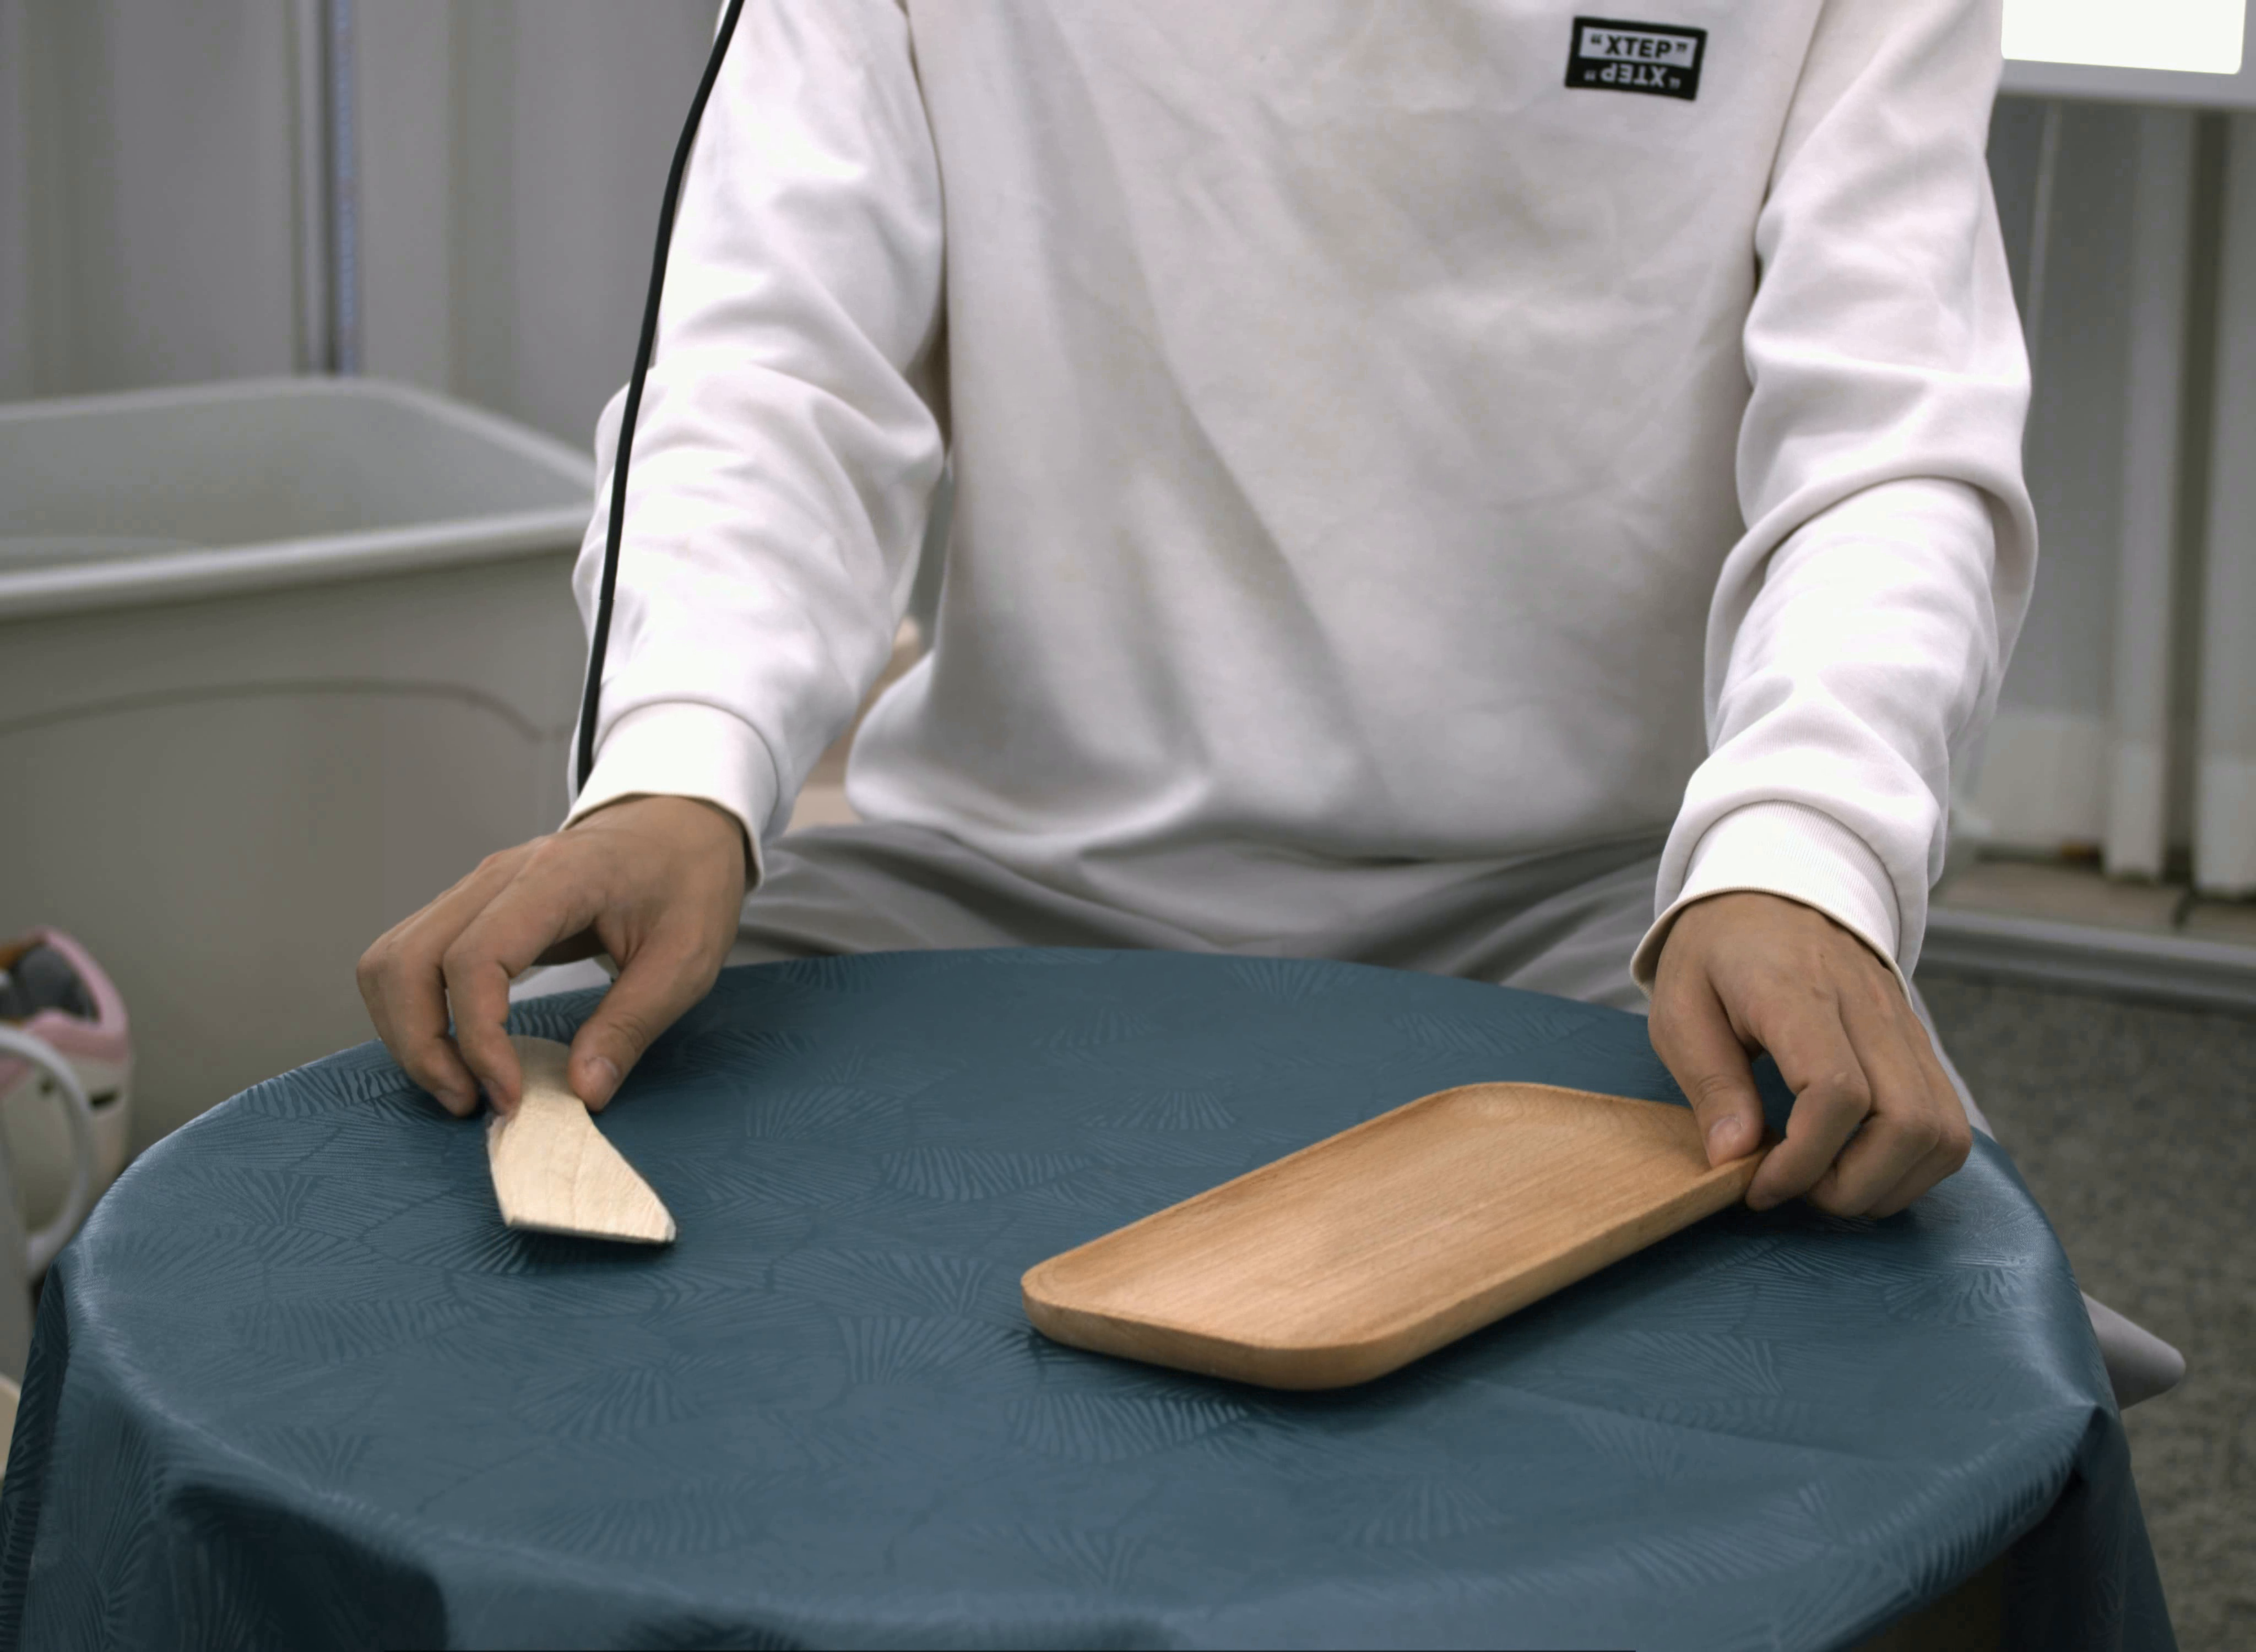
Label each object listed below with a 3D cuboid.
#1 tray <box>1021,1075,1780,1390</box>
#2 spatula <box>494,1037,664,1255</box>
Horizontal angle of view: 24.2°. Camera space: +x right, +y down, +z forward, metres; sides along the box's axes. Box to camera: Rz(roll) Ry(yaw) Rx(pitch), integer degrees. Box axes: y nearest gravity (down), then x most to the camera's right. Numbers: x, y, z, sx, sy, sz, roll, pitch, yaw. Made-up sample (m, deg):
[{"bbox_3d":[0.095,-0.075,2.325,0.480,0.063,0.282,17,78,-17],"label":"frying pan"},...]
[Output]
[{"bbox_3d":[0.085,0.118,1.566,0.129,0.023,0.252,12,19,37],"label":"tray"},{"bbox_3d":[-0.176,0.098,1.647,0.050,0.005,0.206,8,13,-11],"label":"spatula"}]
